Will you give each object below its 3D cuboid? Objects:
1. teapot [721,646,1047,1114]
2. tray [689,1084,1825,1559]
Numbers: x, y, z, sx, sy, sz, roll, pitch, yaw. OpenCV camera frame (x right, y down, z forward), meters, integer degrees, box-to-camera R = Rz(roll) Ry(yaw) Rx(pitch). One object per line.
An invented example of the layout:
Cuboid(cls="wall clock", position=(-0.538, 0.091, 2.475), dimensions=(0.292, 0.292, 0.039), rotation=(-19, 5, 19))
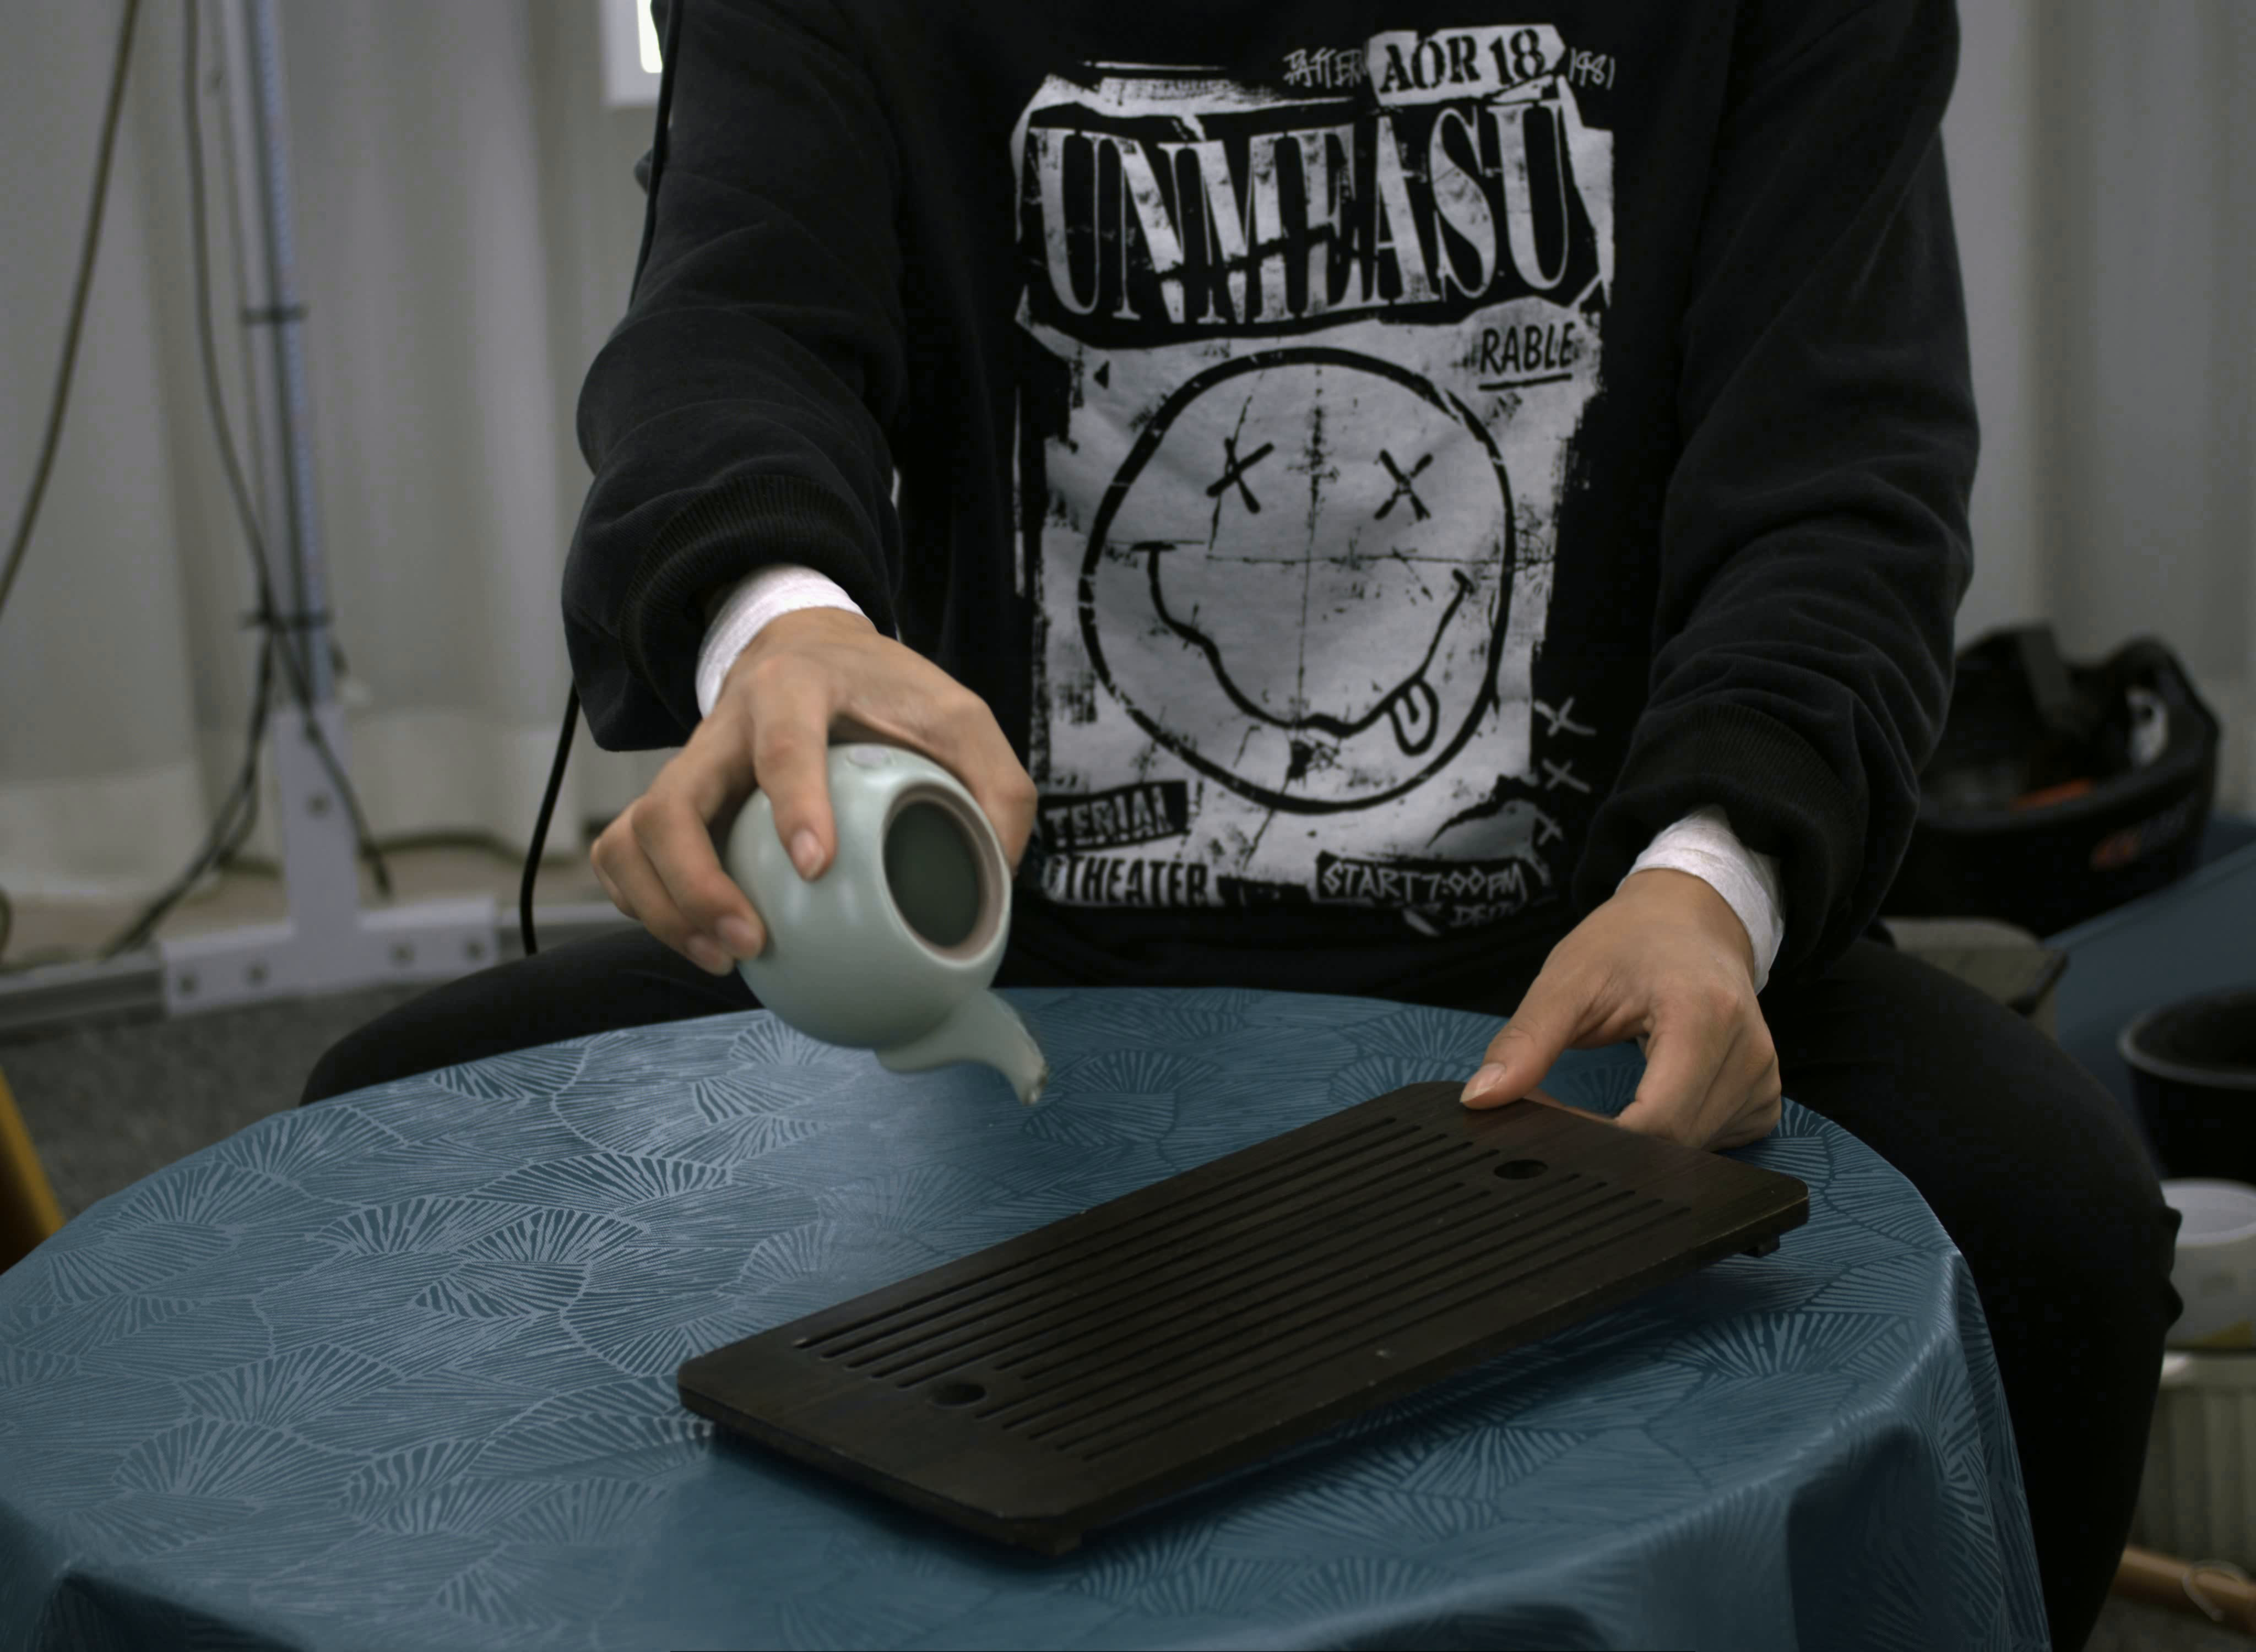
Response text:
Cuboid(cls="teapot", position=(-0.074, 0.020, 1.569), dimensions=(0.074, 0.144, 0.088), rotation=(-14, 8, 35))
Cuboid(cls="tray", position=(0.040, 0.138, 1.559), dimensions=(0.305, 0.018, 0.171), rotation=(-18, 20, -37))
